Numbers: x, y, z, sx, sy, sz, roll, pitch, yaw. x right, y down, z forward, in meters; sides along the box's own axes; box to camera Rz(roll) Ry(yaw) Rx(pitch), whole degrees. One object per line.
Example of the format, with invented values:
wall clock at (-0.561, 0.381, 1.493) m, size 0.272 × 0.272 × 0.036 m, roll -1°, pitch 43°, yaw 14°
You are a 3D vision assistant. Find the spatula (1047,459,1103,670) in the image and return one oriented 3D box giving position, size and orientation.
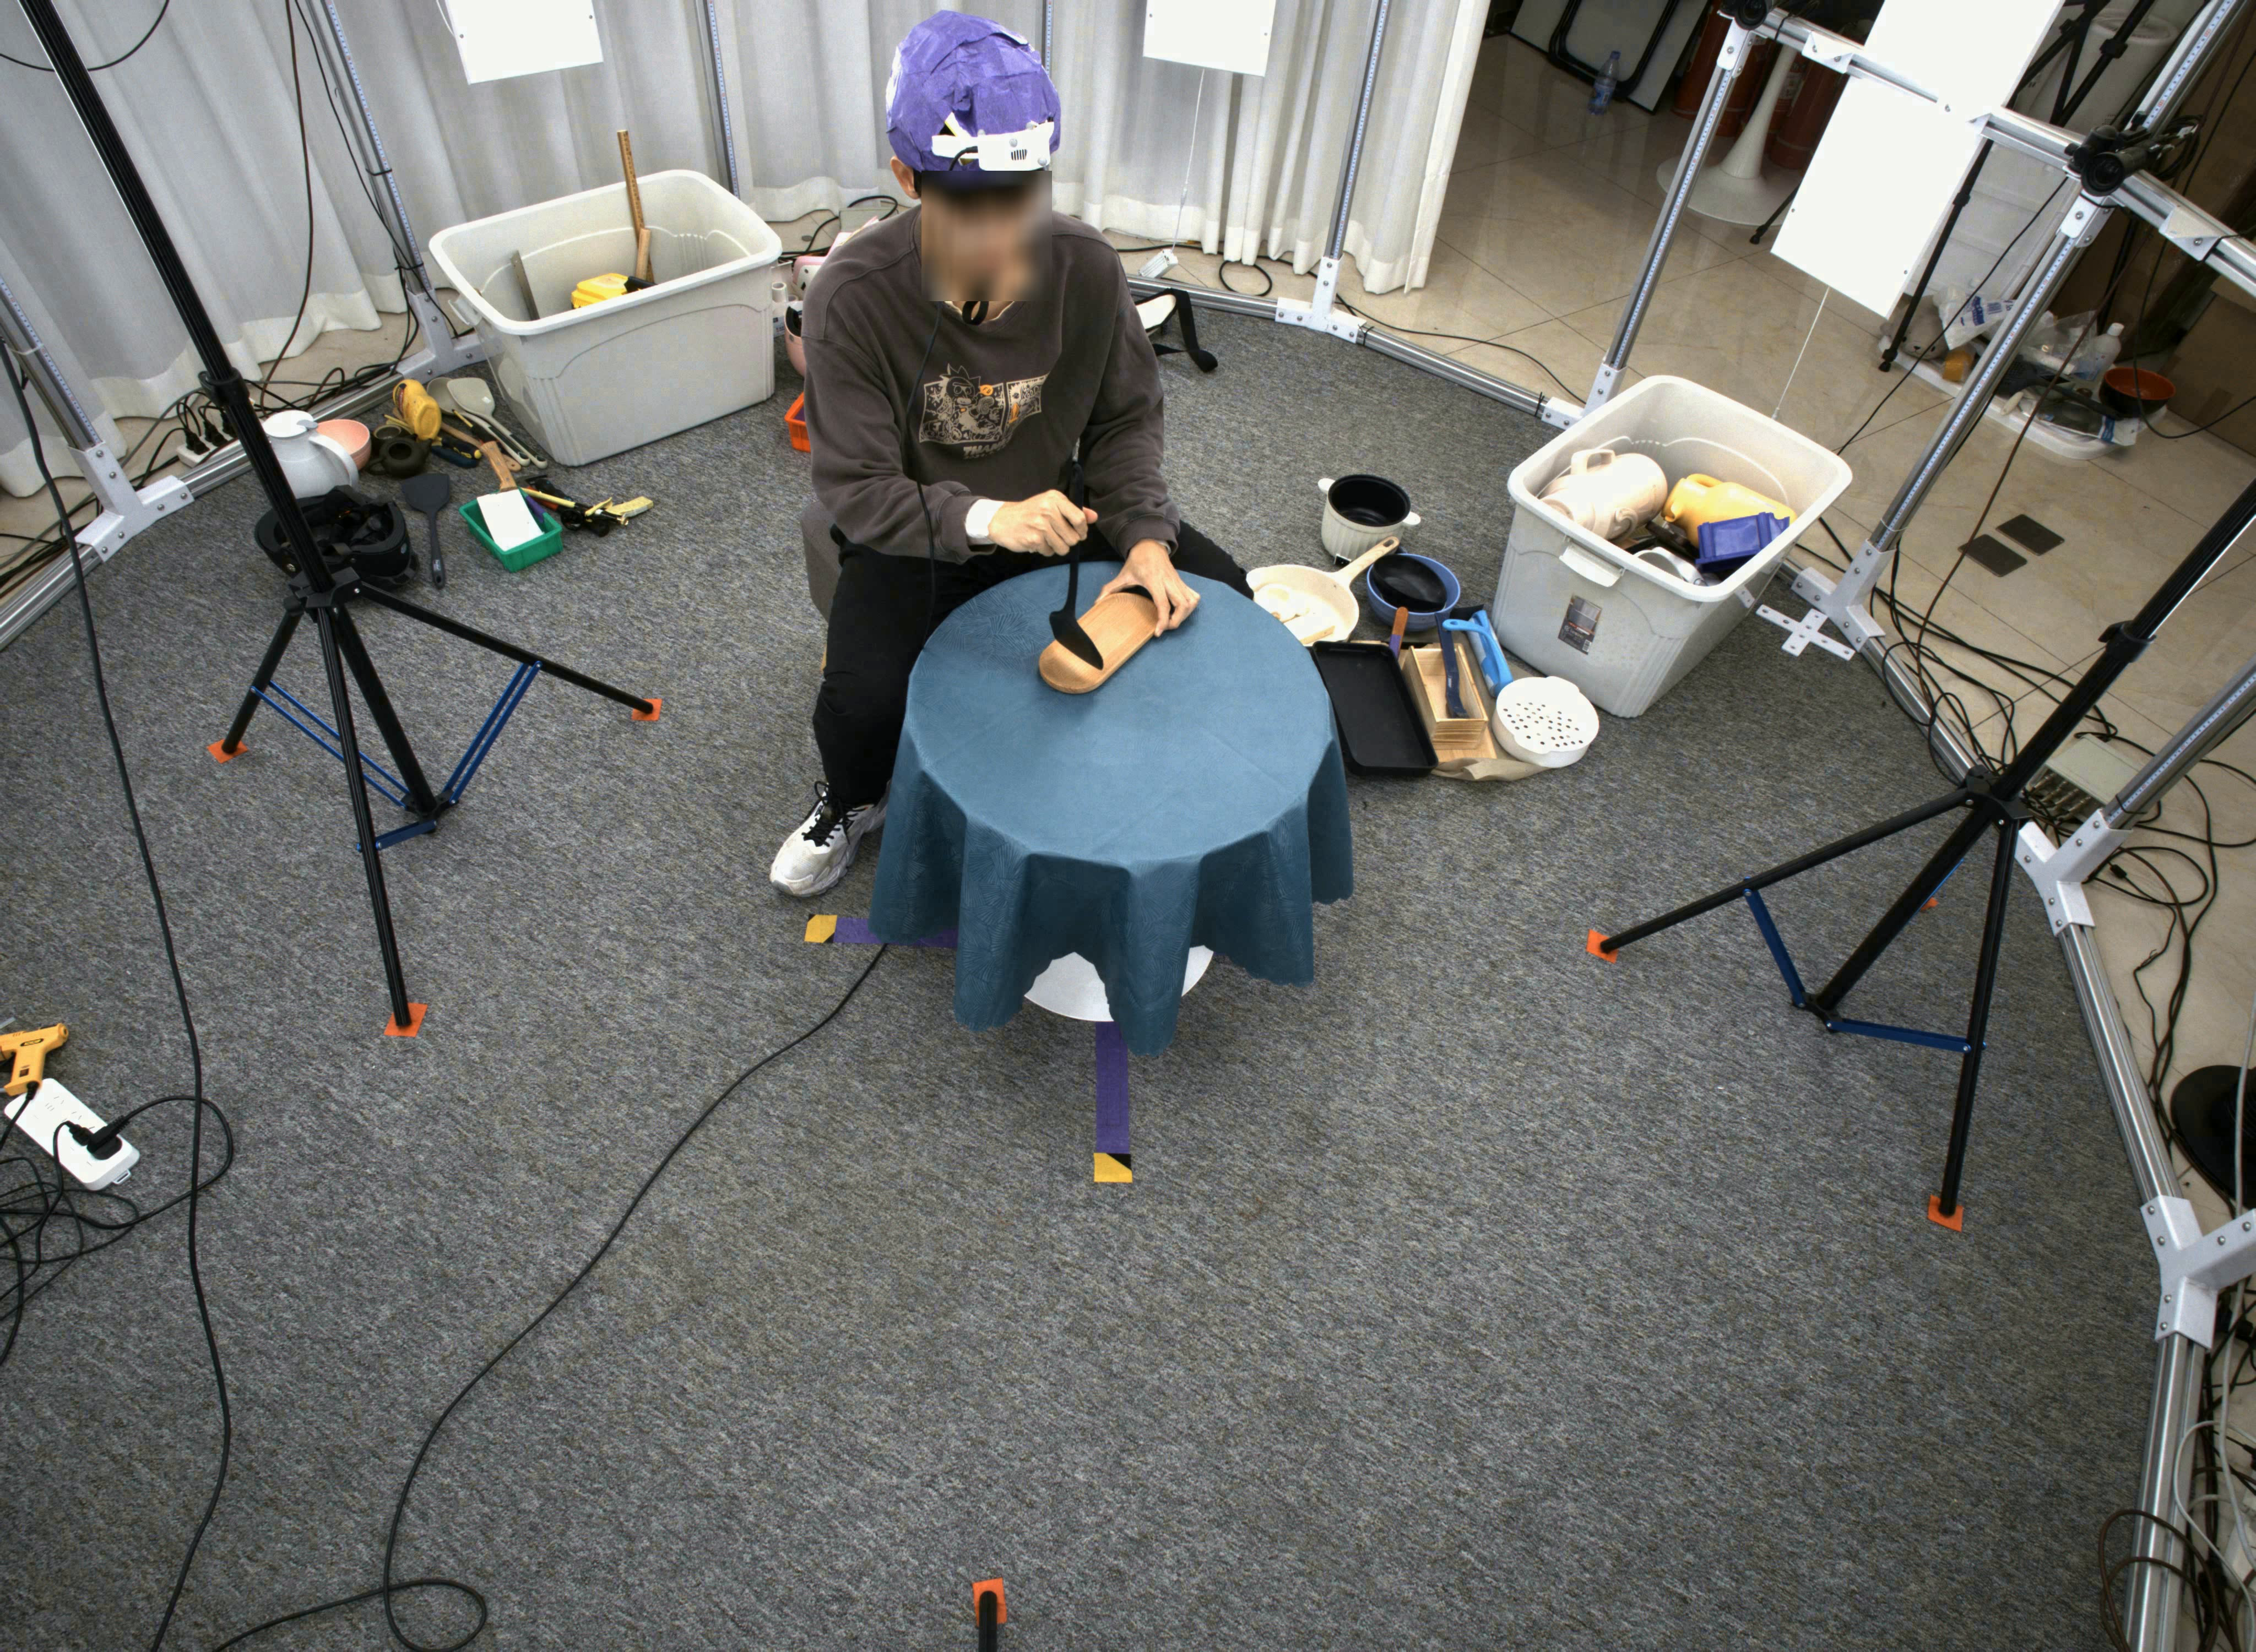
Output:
spatula at (-0.070, -0.345, 1.713) m, size 0.101 × 0.318 × 0.041 m, roll 36°, pitch 51°, yaw 27°

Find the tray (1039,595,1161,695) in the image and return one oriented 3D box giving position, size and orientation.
tray at (-0.039, -0.267, 1.885) m, size 0.103 × 0.020 × 0.234 m, roll 30°, pitch 55°, yaw 20°
